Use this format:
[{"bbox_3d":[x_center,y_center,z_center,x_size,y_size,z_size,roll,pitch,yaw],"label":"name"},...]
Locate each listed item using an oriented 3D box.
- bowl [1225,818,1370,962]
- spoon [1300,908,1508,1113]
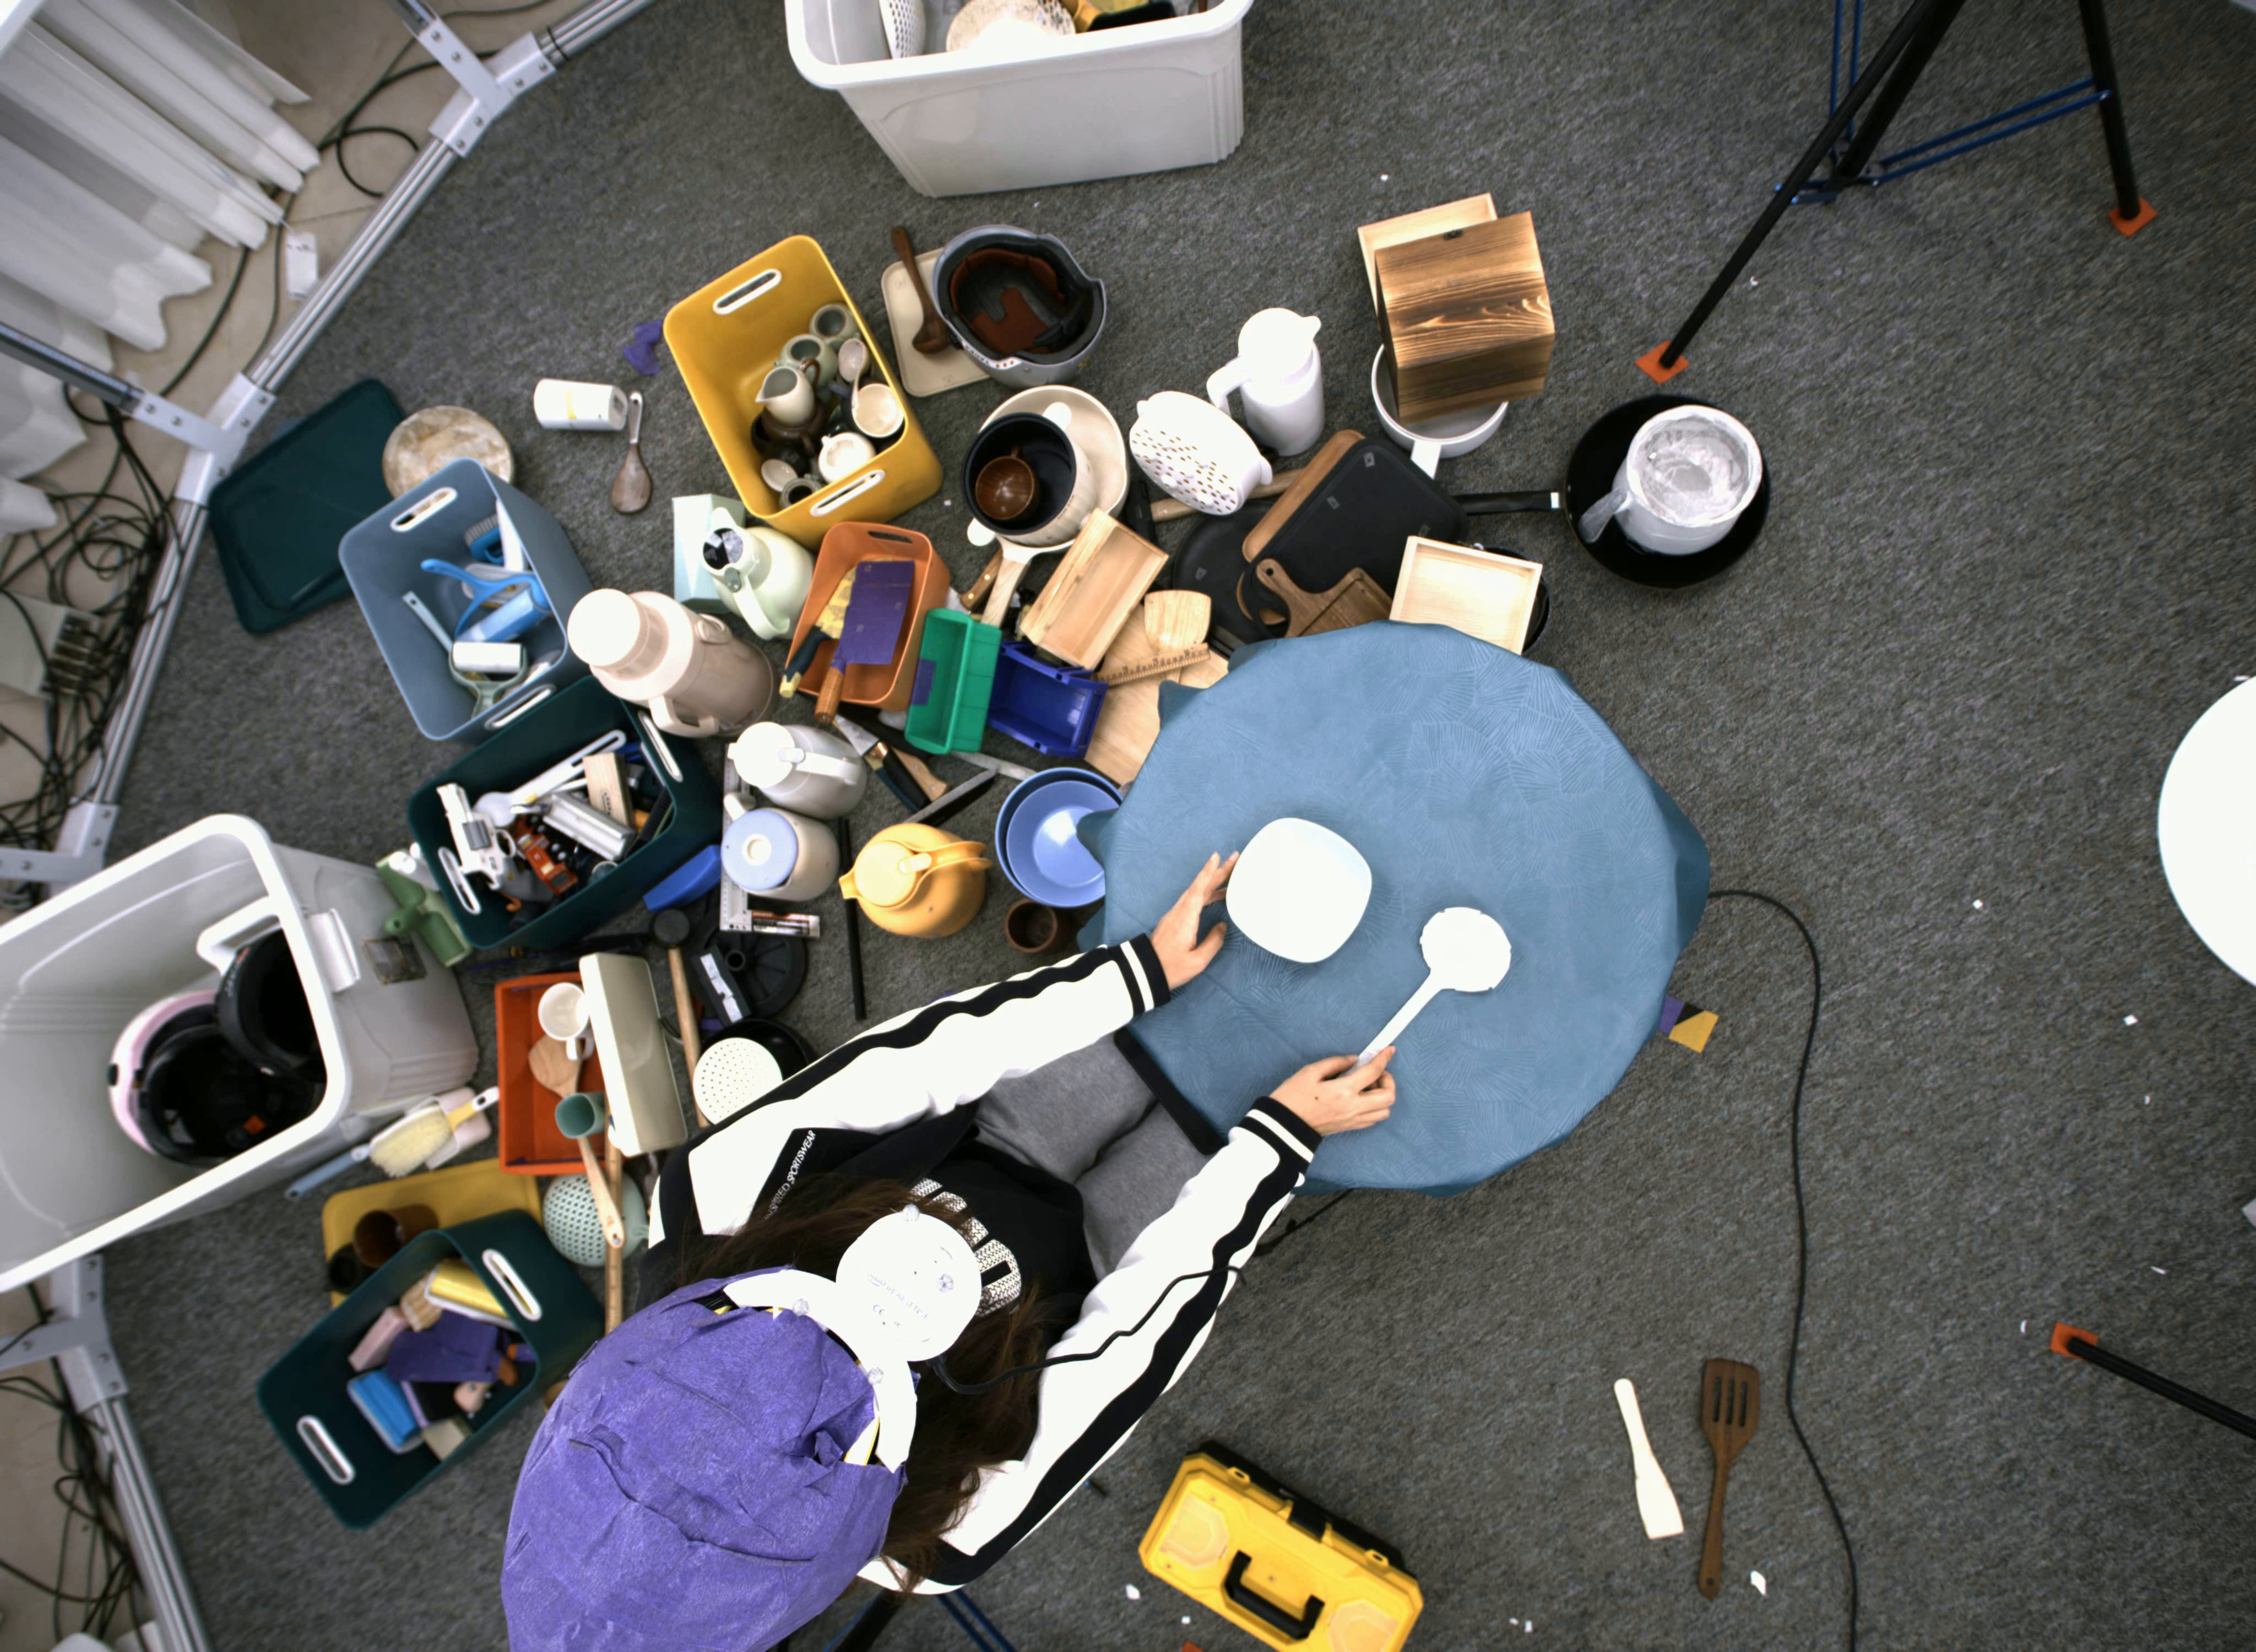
[{"bbox_3d":[0.178,0.068,1.450,0.152,0.058,0.151,-1,86,10],"label":"bowl"},{"bbox_3d":[0.273,0.194,1.424,0.278,0.059,0.100,-45,75,5],"label":"spoon"}]
